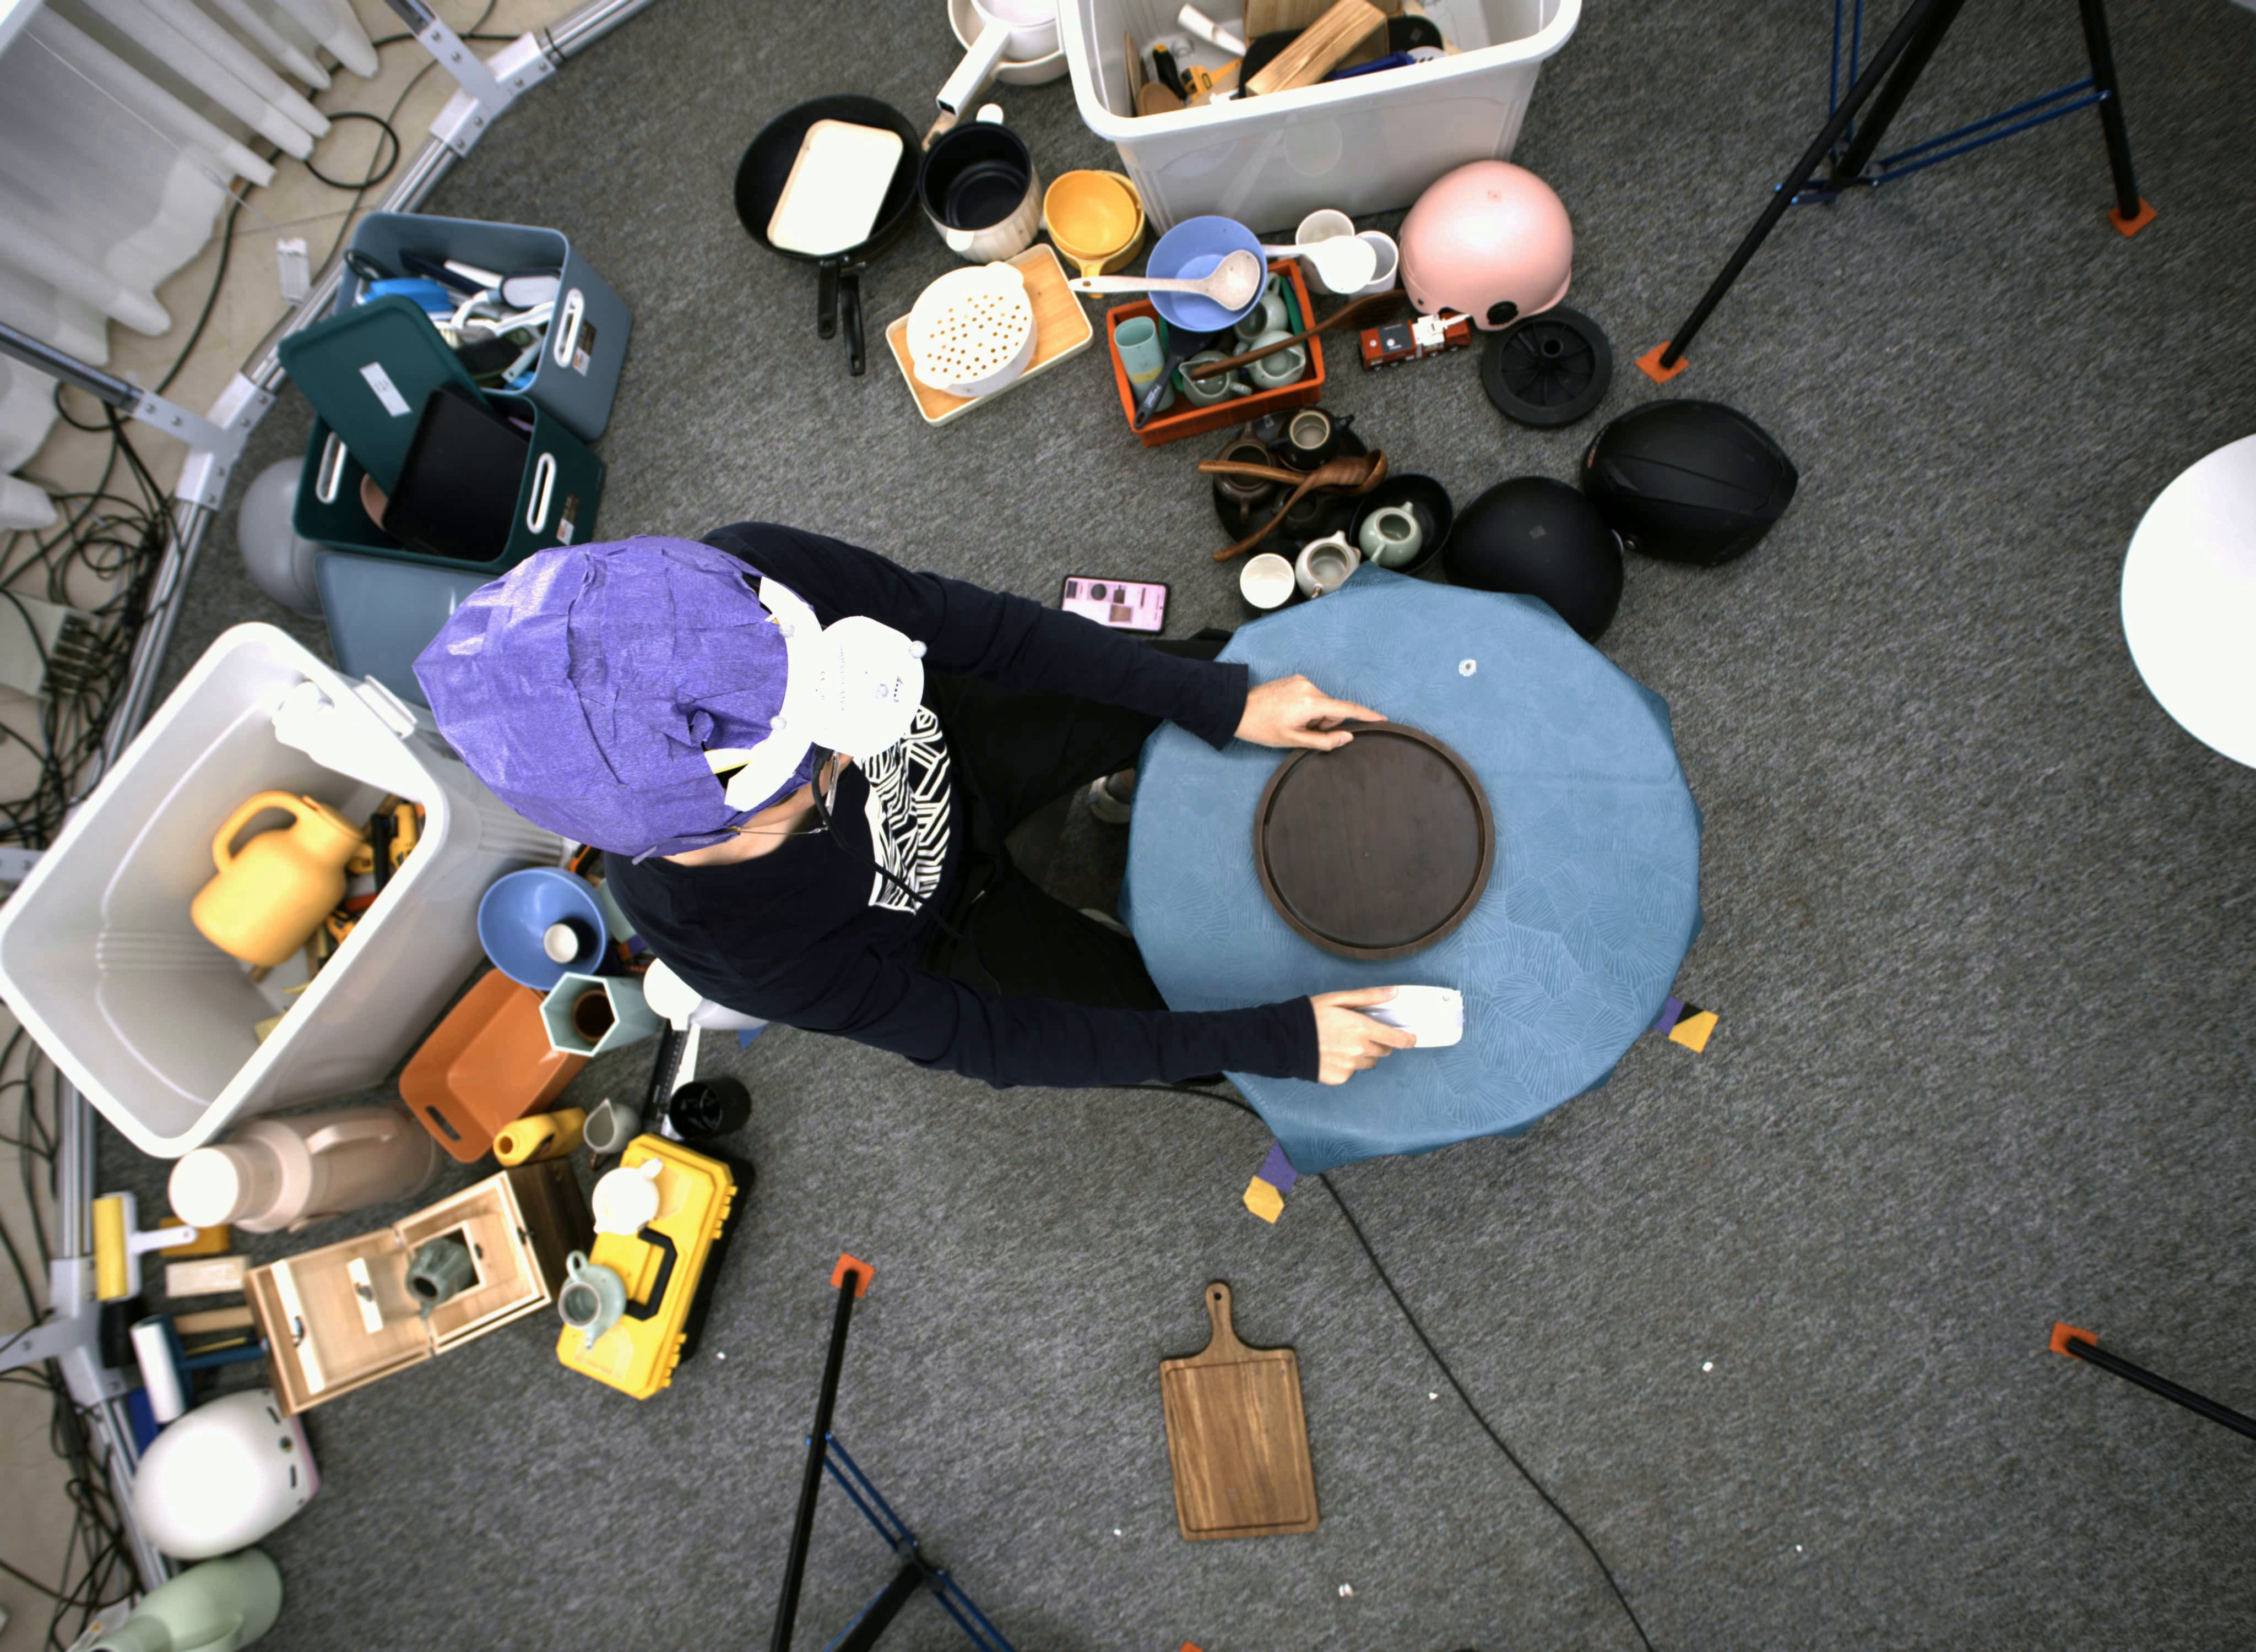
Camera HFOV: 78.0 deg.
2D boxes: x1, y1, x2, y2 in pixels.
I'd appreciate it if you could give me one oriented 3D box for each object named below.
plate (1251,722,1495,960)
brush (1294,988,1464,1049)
[{"bbox_3d":[0.257,0.014,1.453,0.256,0.029,0.253,-1,87,9],"label":"plate"},{"bbox_3d":[0.254,0.195,1.408,0.176,0.094,0.061,-2,82,13],"label":"brush"}]
